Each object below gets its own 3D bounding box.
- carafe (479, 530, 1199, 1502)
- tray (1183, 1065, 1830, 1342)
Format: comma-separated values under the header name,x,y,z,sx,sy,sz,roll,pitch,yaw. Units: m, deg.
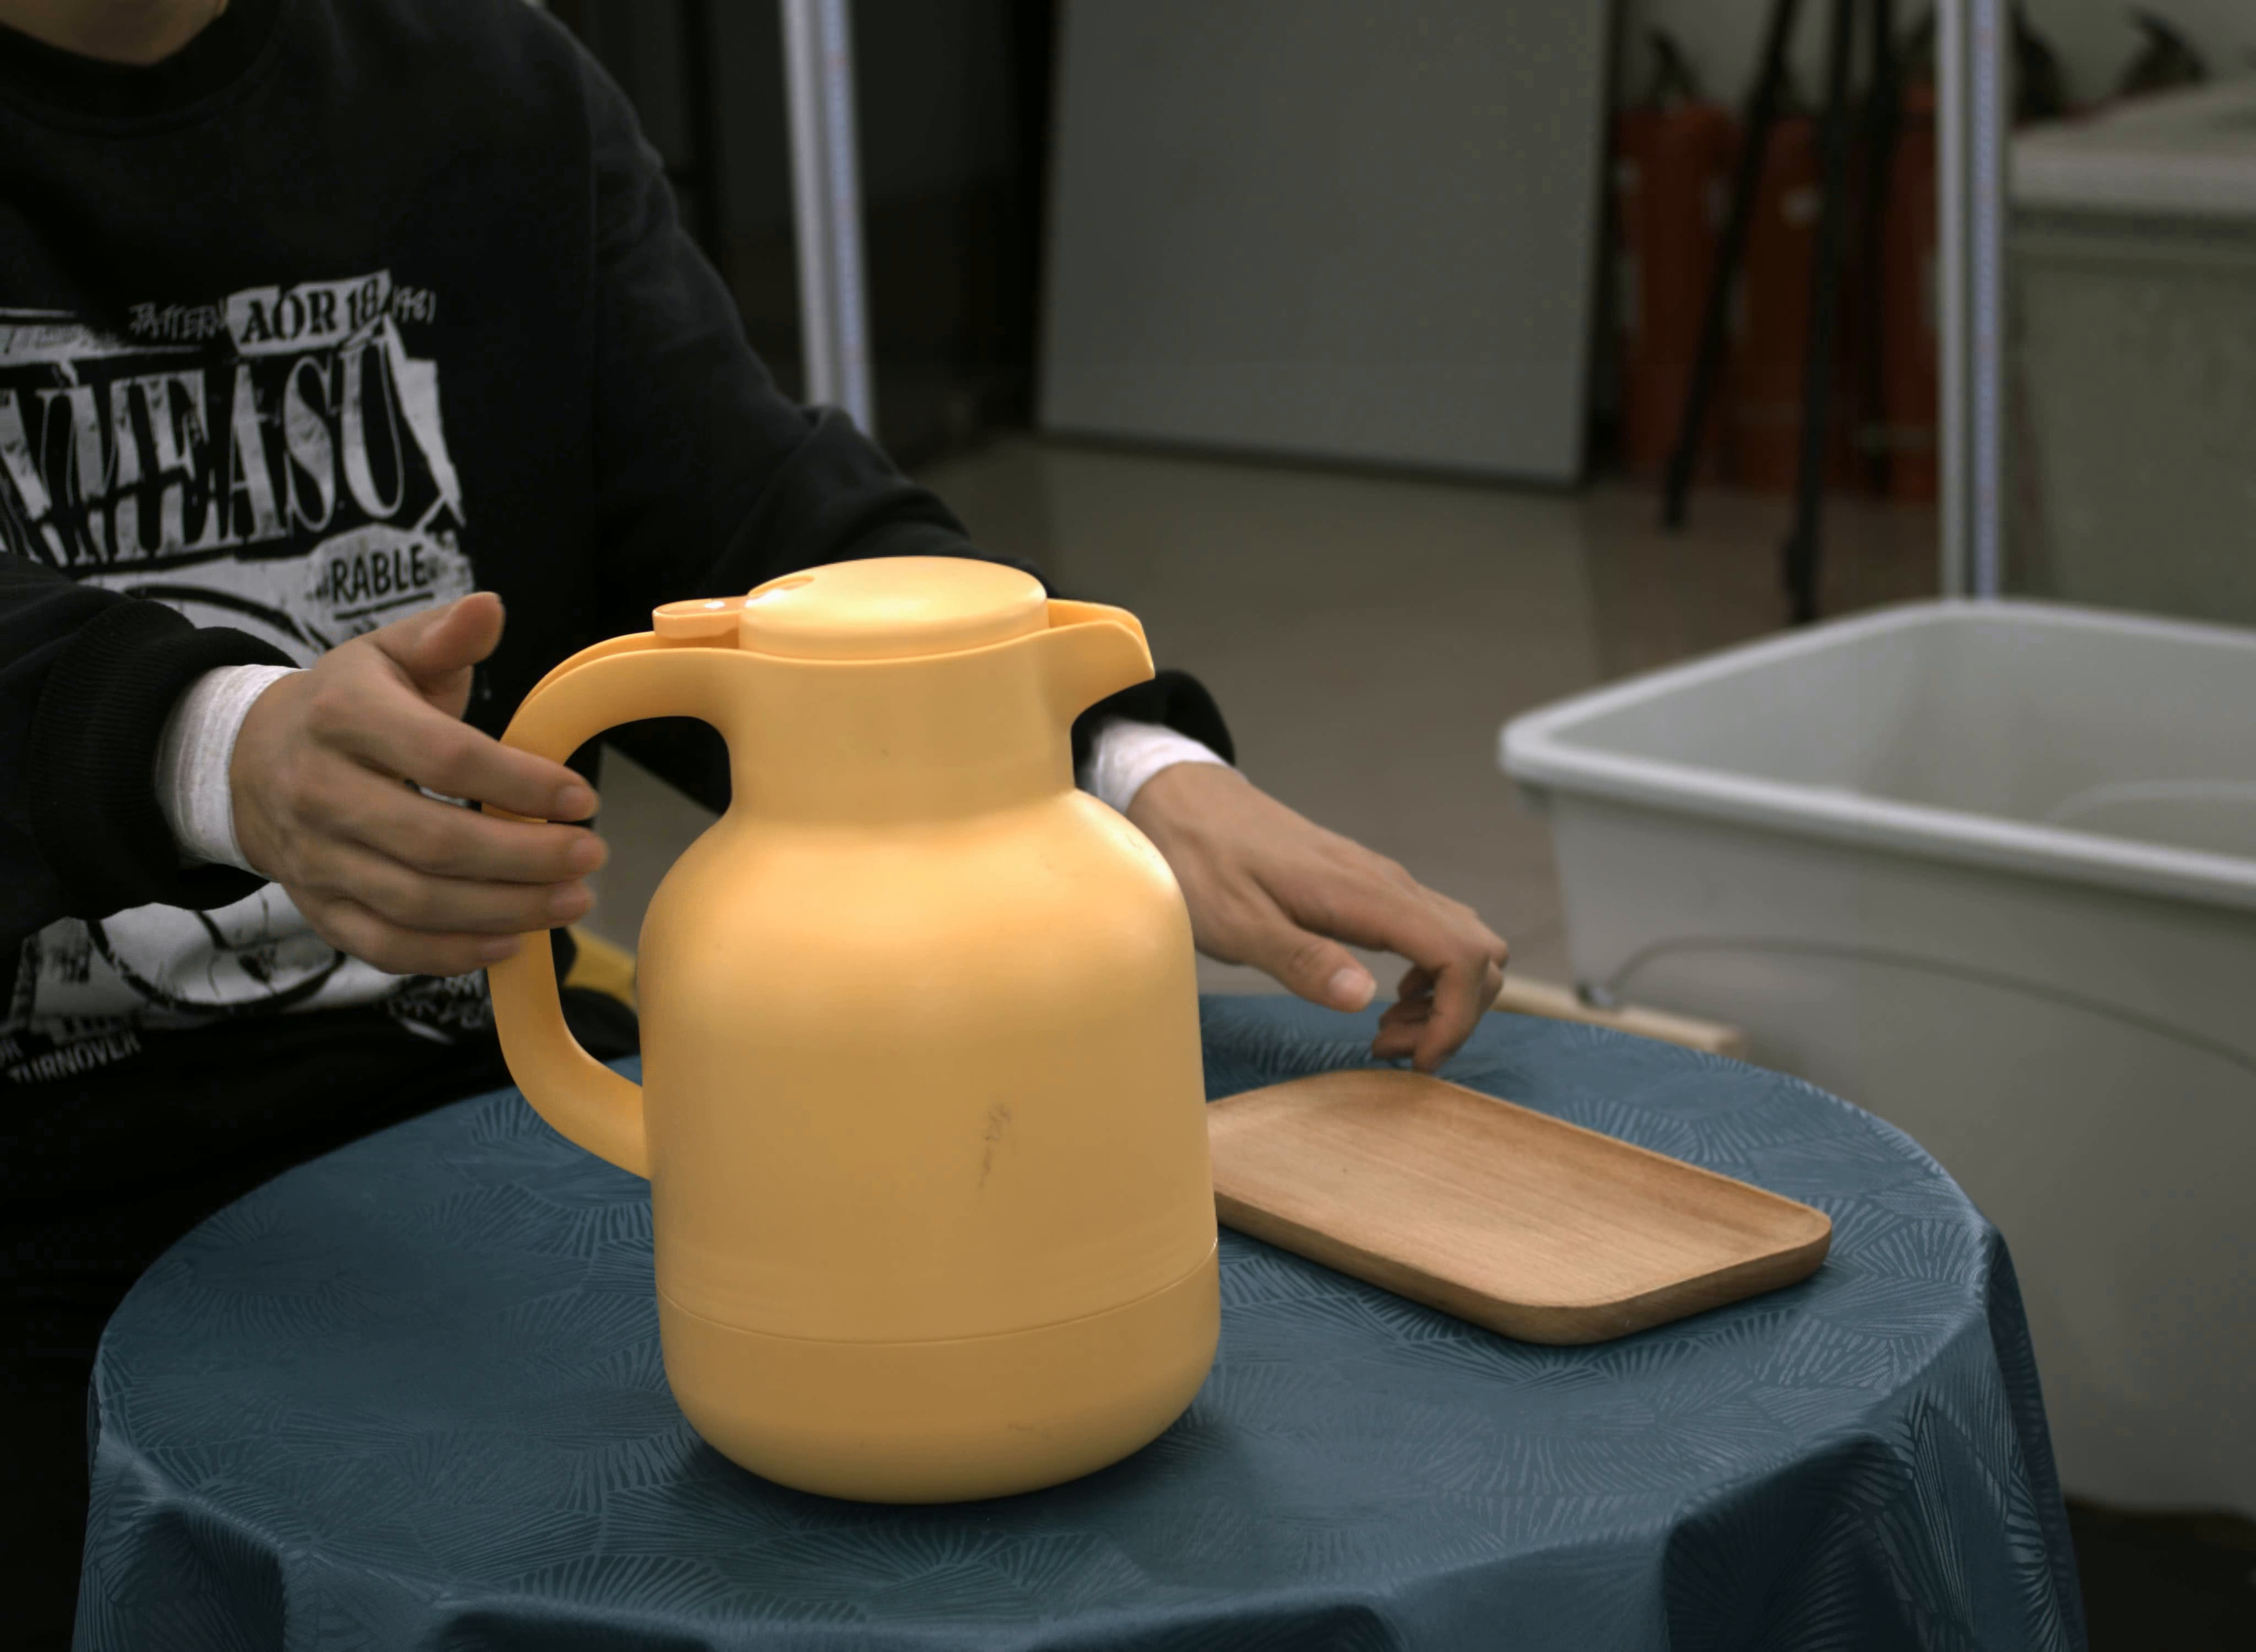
name,x,y,z,sx,sy,sz,roll,pitch,yaw
carafe,-0.081,0.050,1.534,0.200,0.263,0.163,-1,11,5
tray,0.106,0.118,1.718,0.127,0.023,0.253,-10,14,-31
